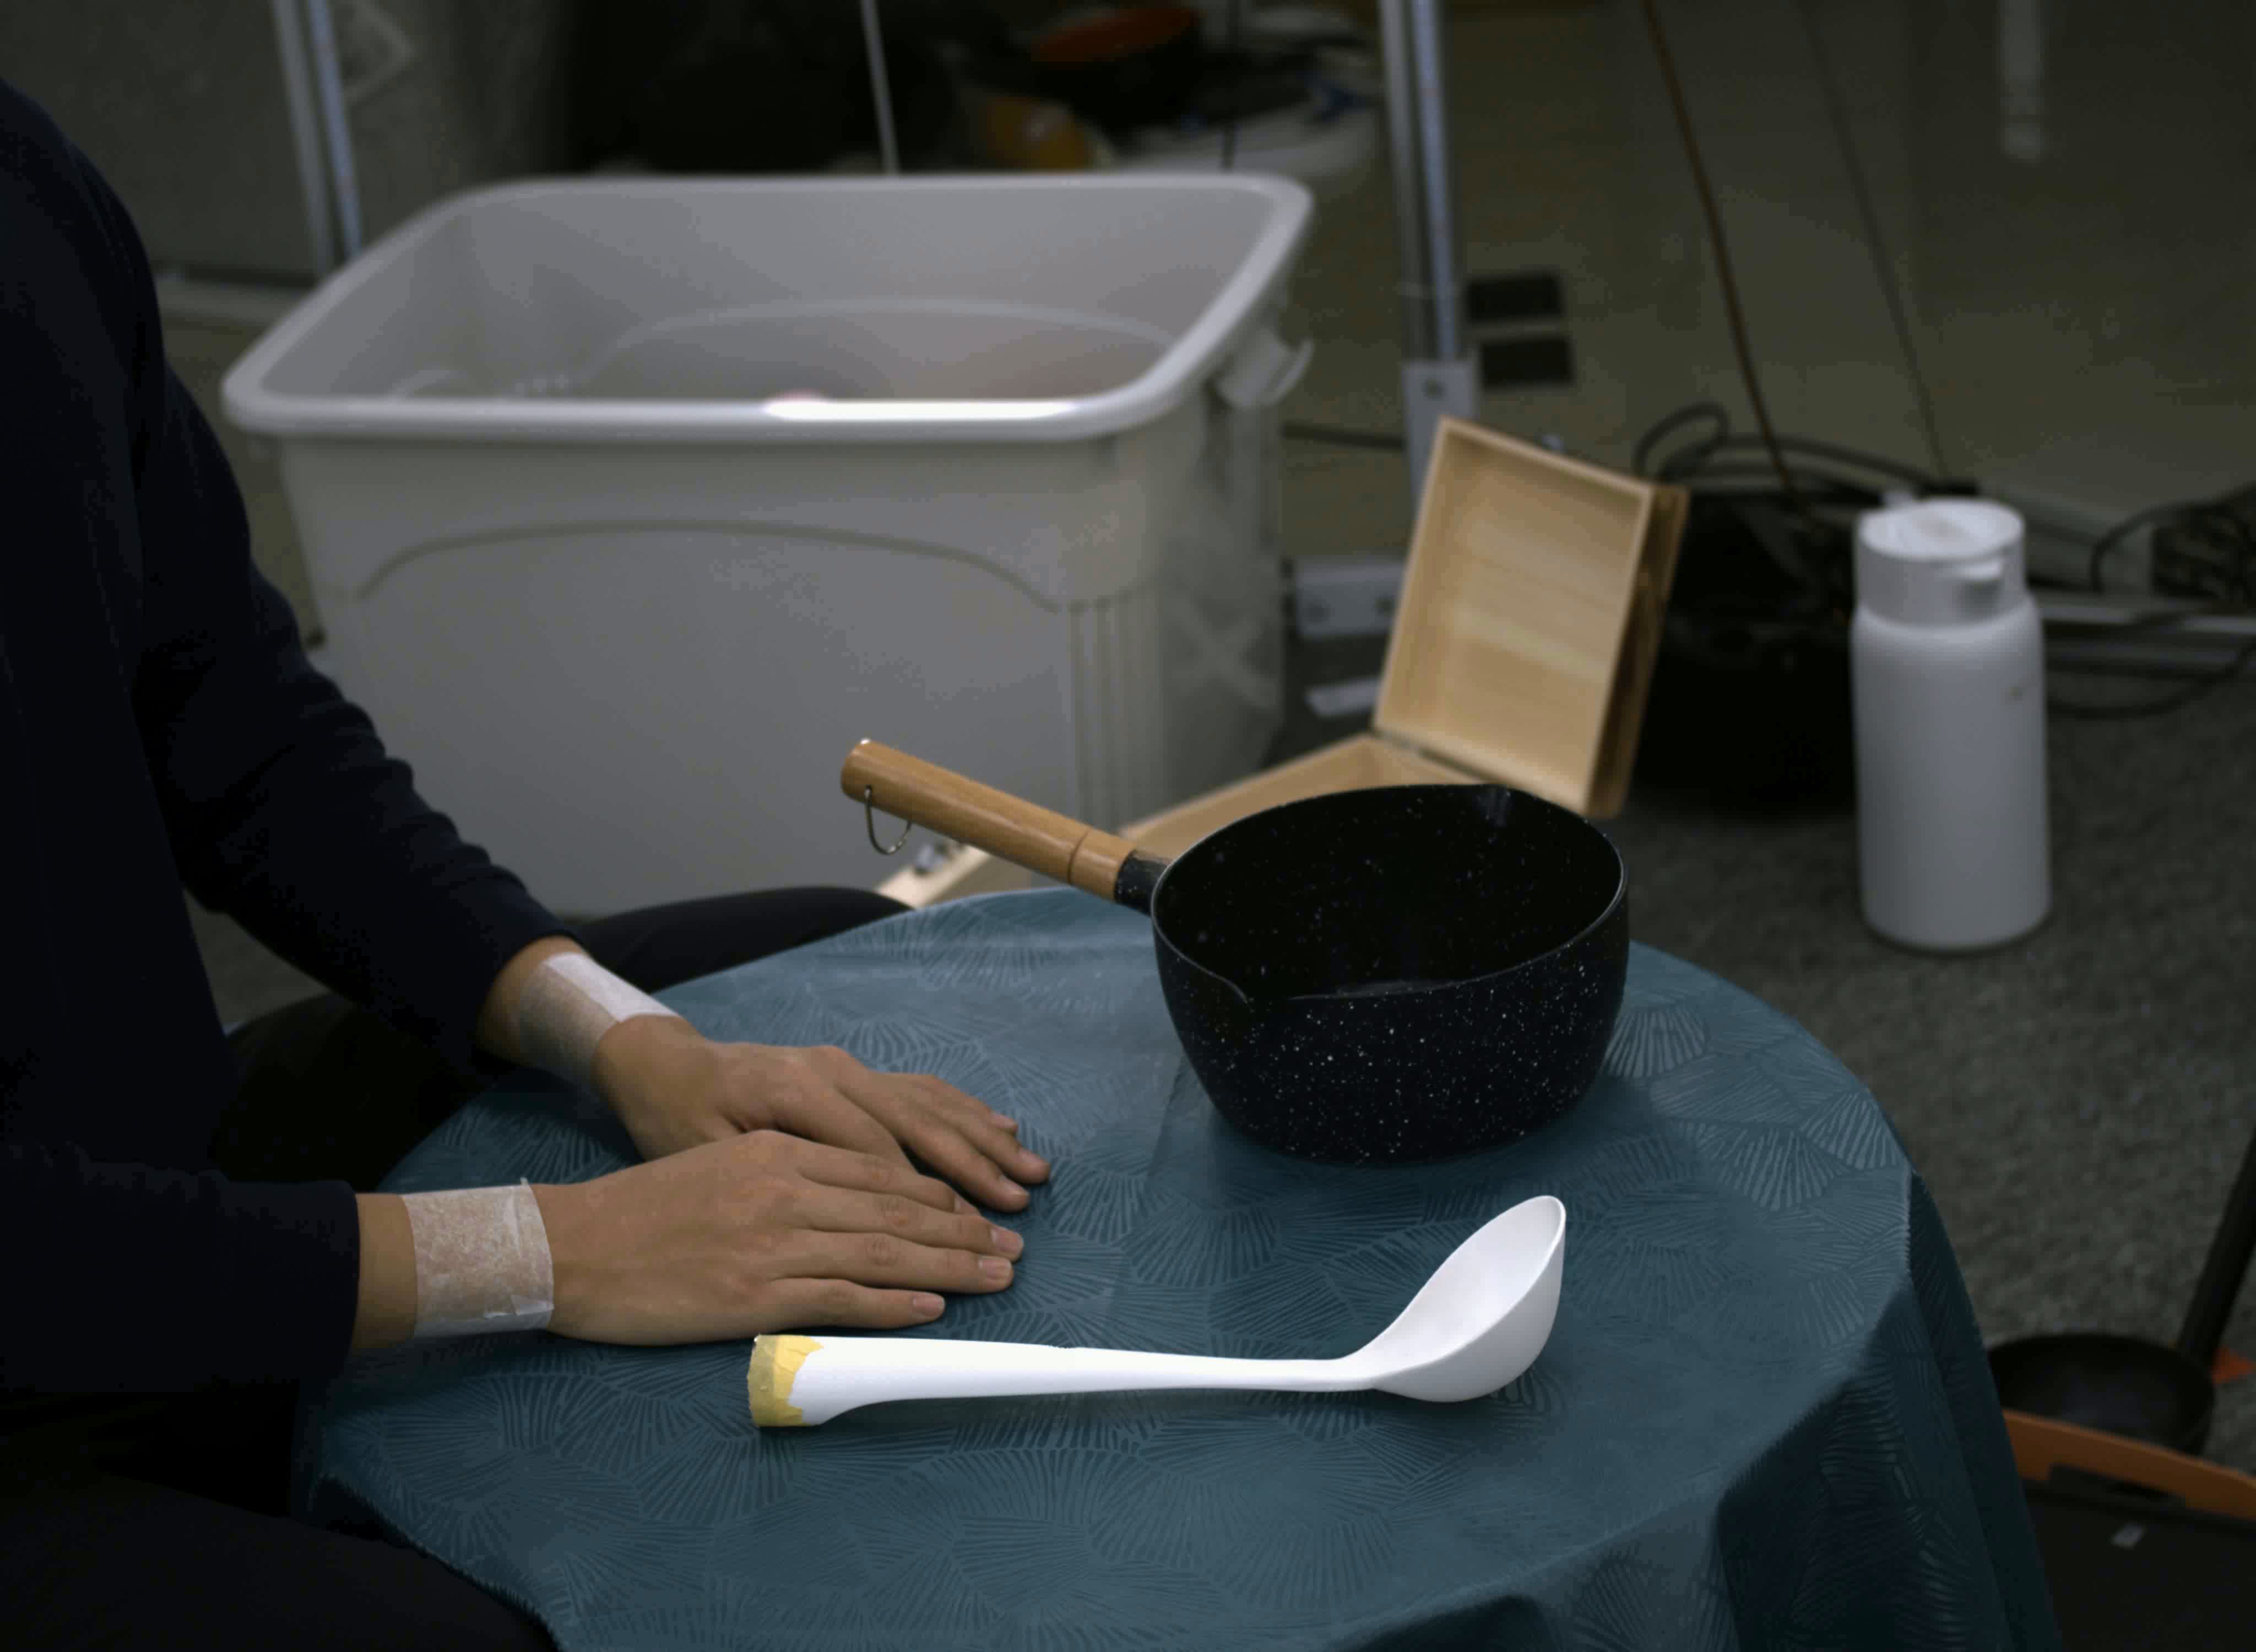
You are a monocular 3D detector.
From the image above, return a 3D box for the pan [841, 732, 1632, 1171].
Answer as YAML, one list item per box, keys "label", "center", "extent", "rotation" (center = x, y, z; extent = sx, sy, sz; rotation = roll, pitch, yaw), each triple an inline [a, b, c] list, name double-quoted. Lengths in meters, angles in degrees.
- label: "pan"
  center: [0.035, 0.039, 2.223]
  extent: [0.341, 0.110, 0.205]
  rotation: [10, 31, 29]

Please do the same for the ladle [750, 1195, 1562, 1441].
- label: "ladle"
  center: [0.009, 0.177, 1.985]
  extent: [0.292, 0.071, 0.089]
  rotation: [-3, 30, 9]
